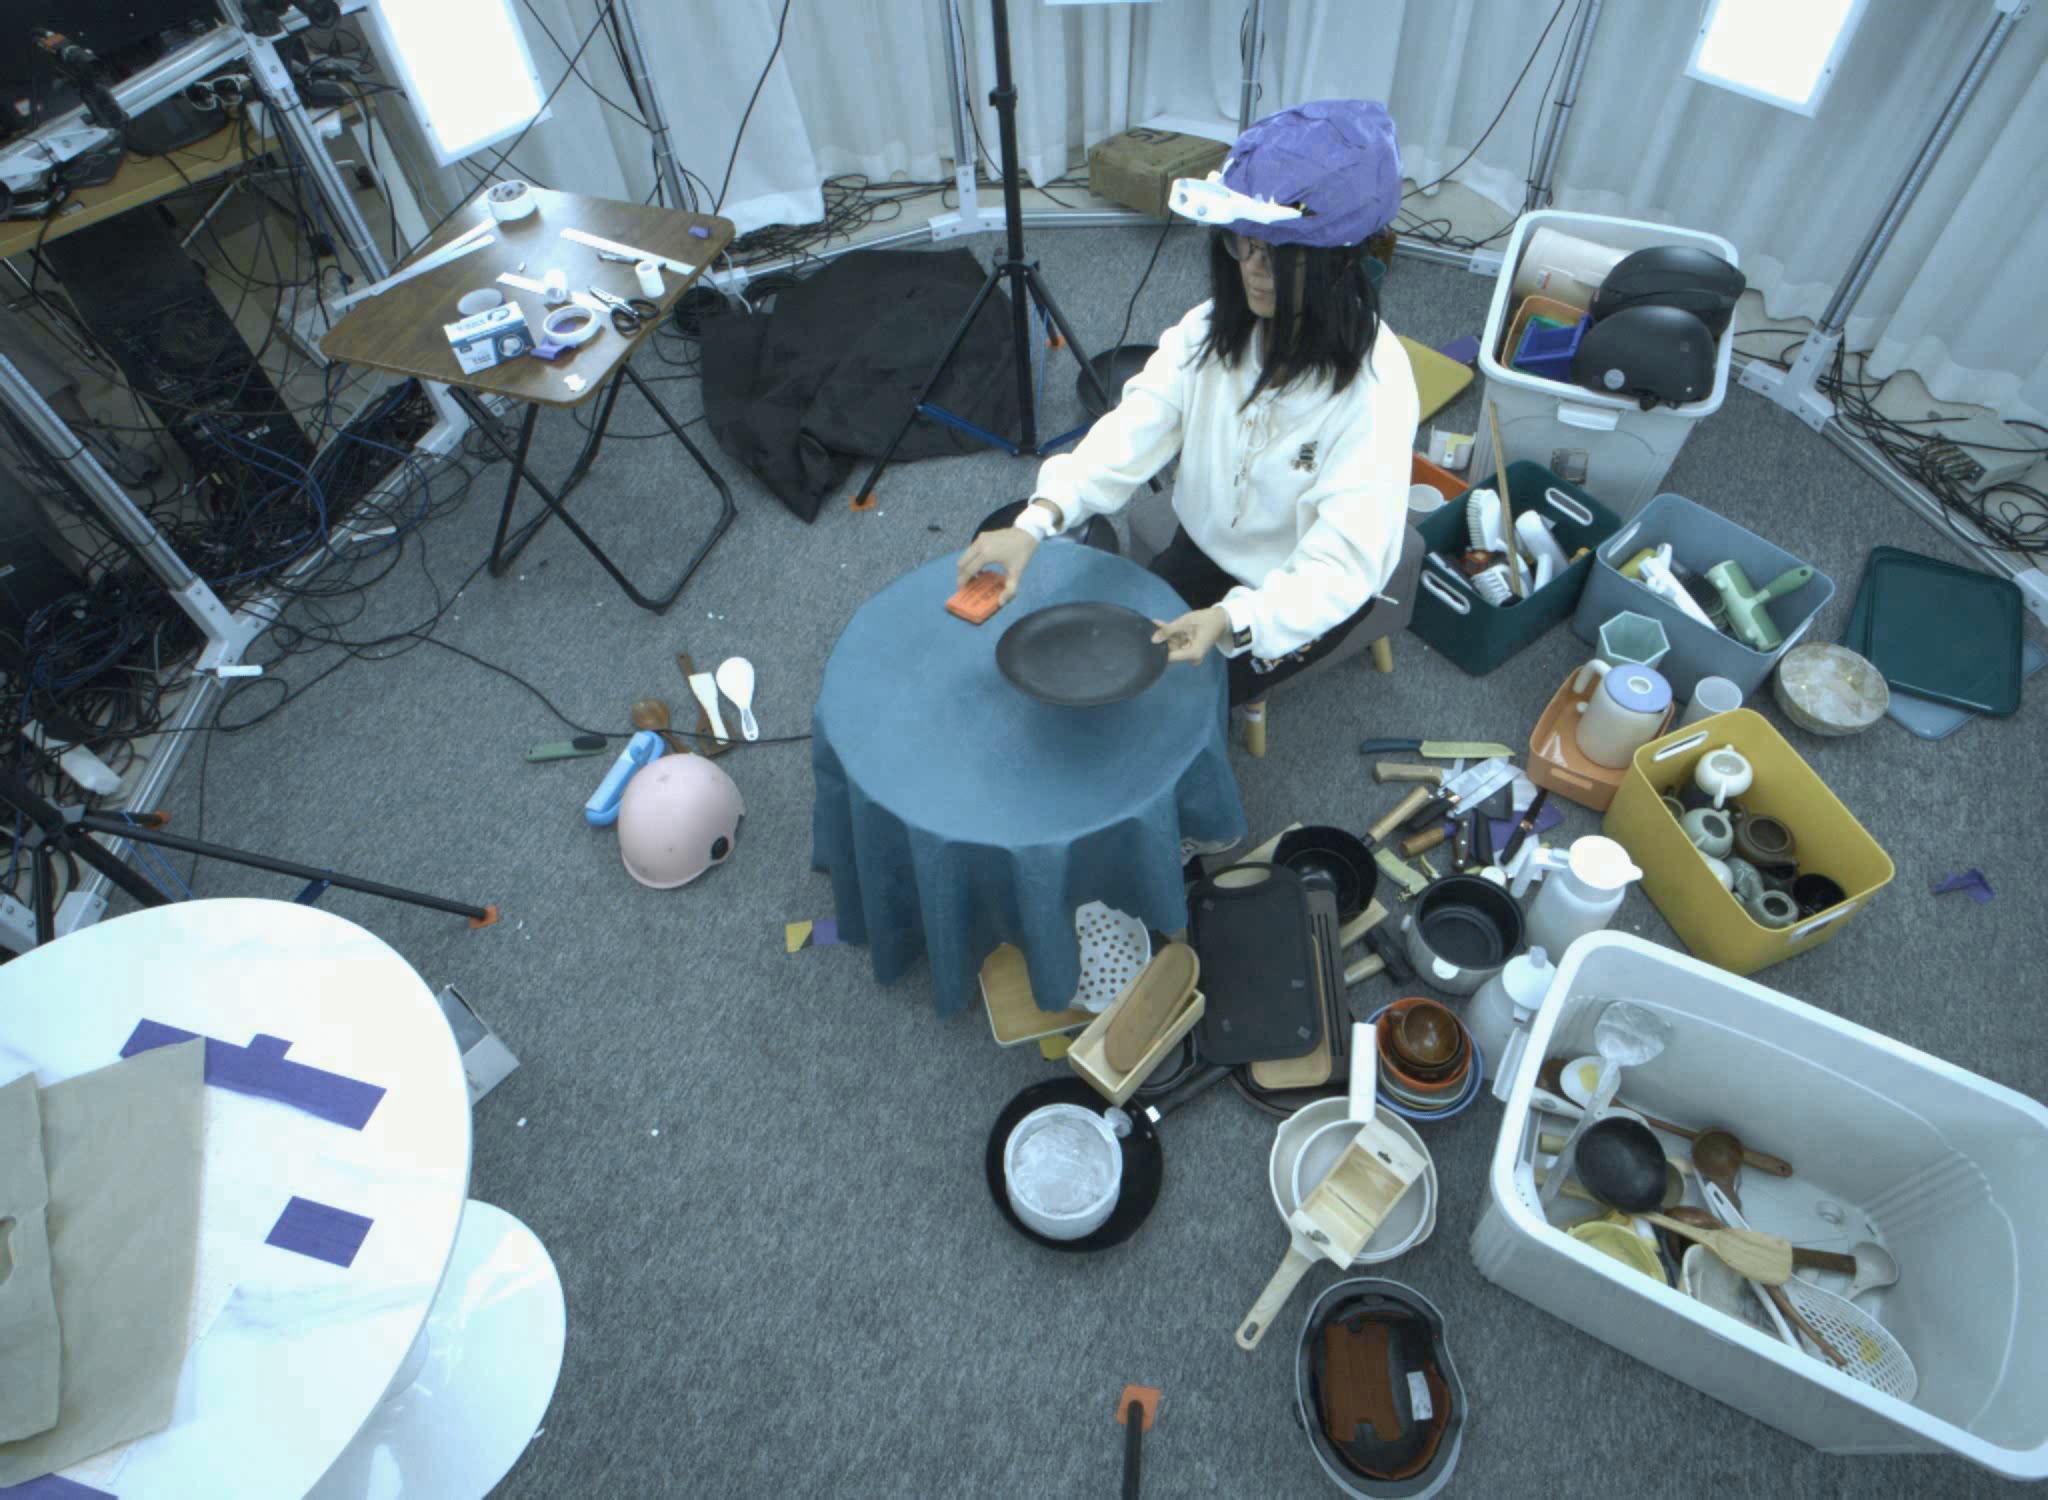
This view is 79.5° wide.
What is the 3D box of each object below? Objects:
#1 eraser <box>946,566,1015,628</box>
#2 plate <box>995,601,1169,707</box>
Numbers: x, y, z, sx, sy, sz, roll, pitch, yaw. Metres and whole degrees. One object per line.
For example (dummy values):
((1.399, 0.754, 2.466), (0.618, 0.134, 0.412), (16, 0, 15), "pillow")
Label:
((-0.063, -0.223, 1.786), (0.058, 0.023, 0.109), (29, 52, 19), "eraser")
((0.081, -0.132, 1.734), (0.244, 0.024, 0.242), (0, 42, 2), "plate")
